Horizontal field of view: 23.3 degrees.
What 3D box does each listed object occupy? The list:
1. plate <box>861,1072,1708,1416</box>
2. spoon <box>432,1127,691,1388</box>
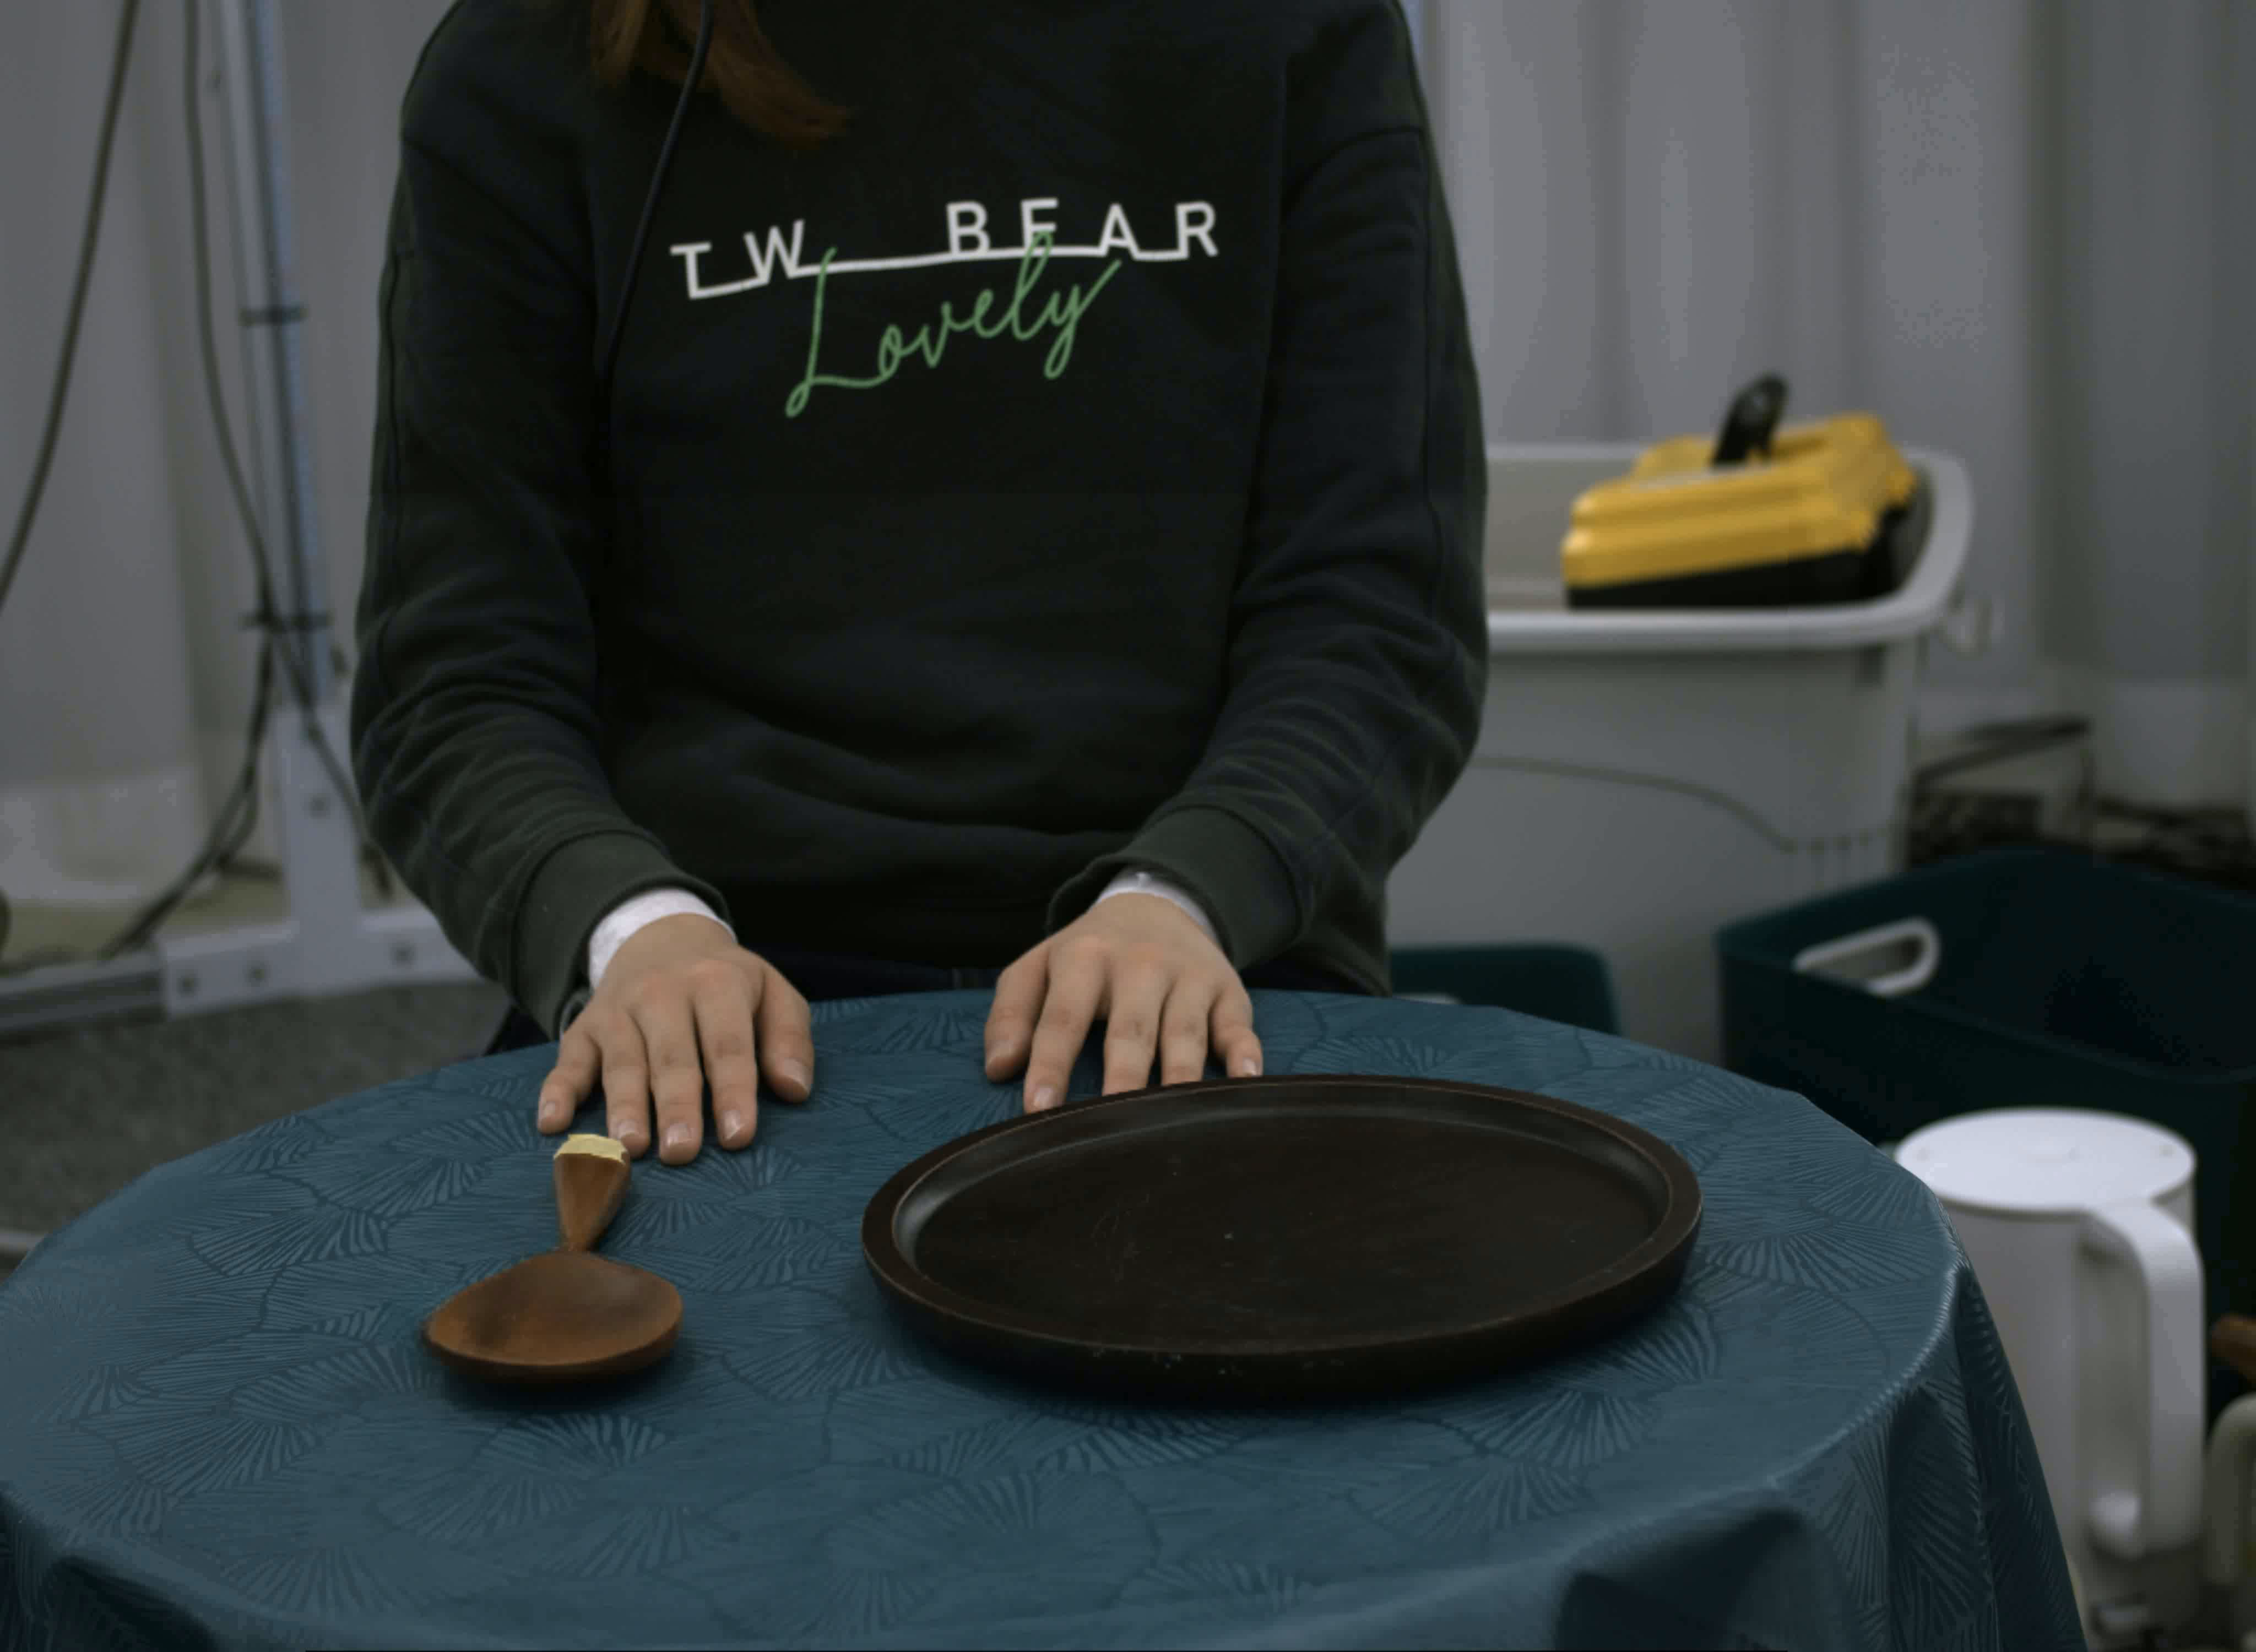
[{"bbox_3d":[0.046,0.123,1.632,0.254,0.029,0.256,-2,16,0],"label":"plate"},{"bbox_3d":[-0.167,0.131,1.650,0.075,0.017,0.217,-4,15,-1],"label":"spoon"}]
